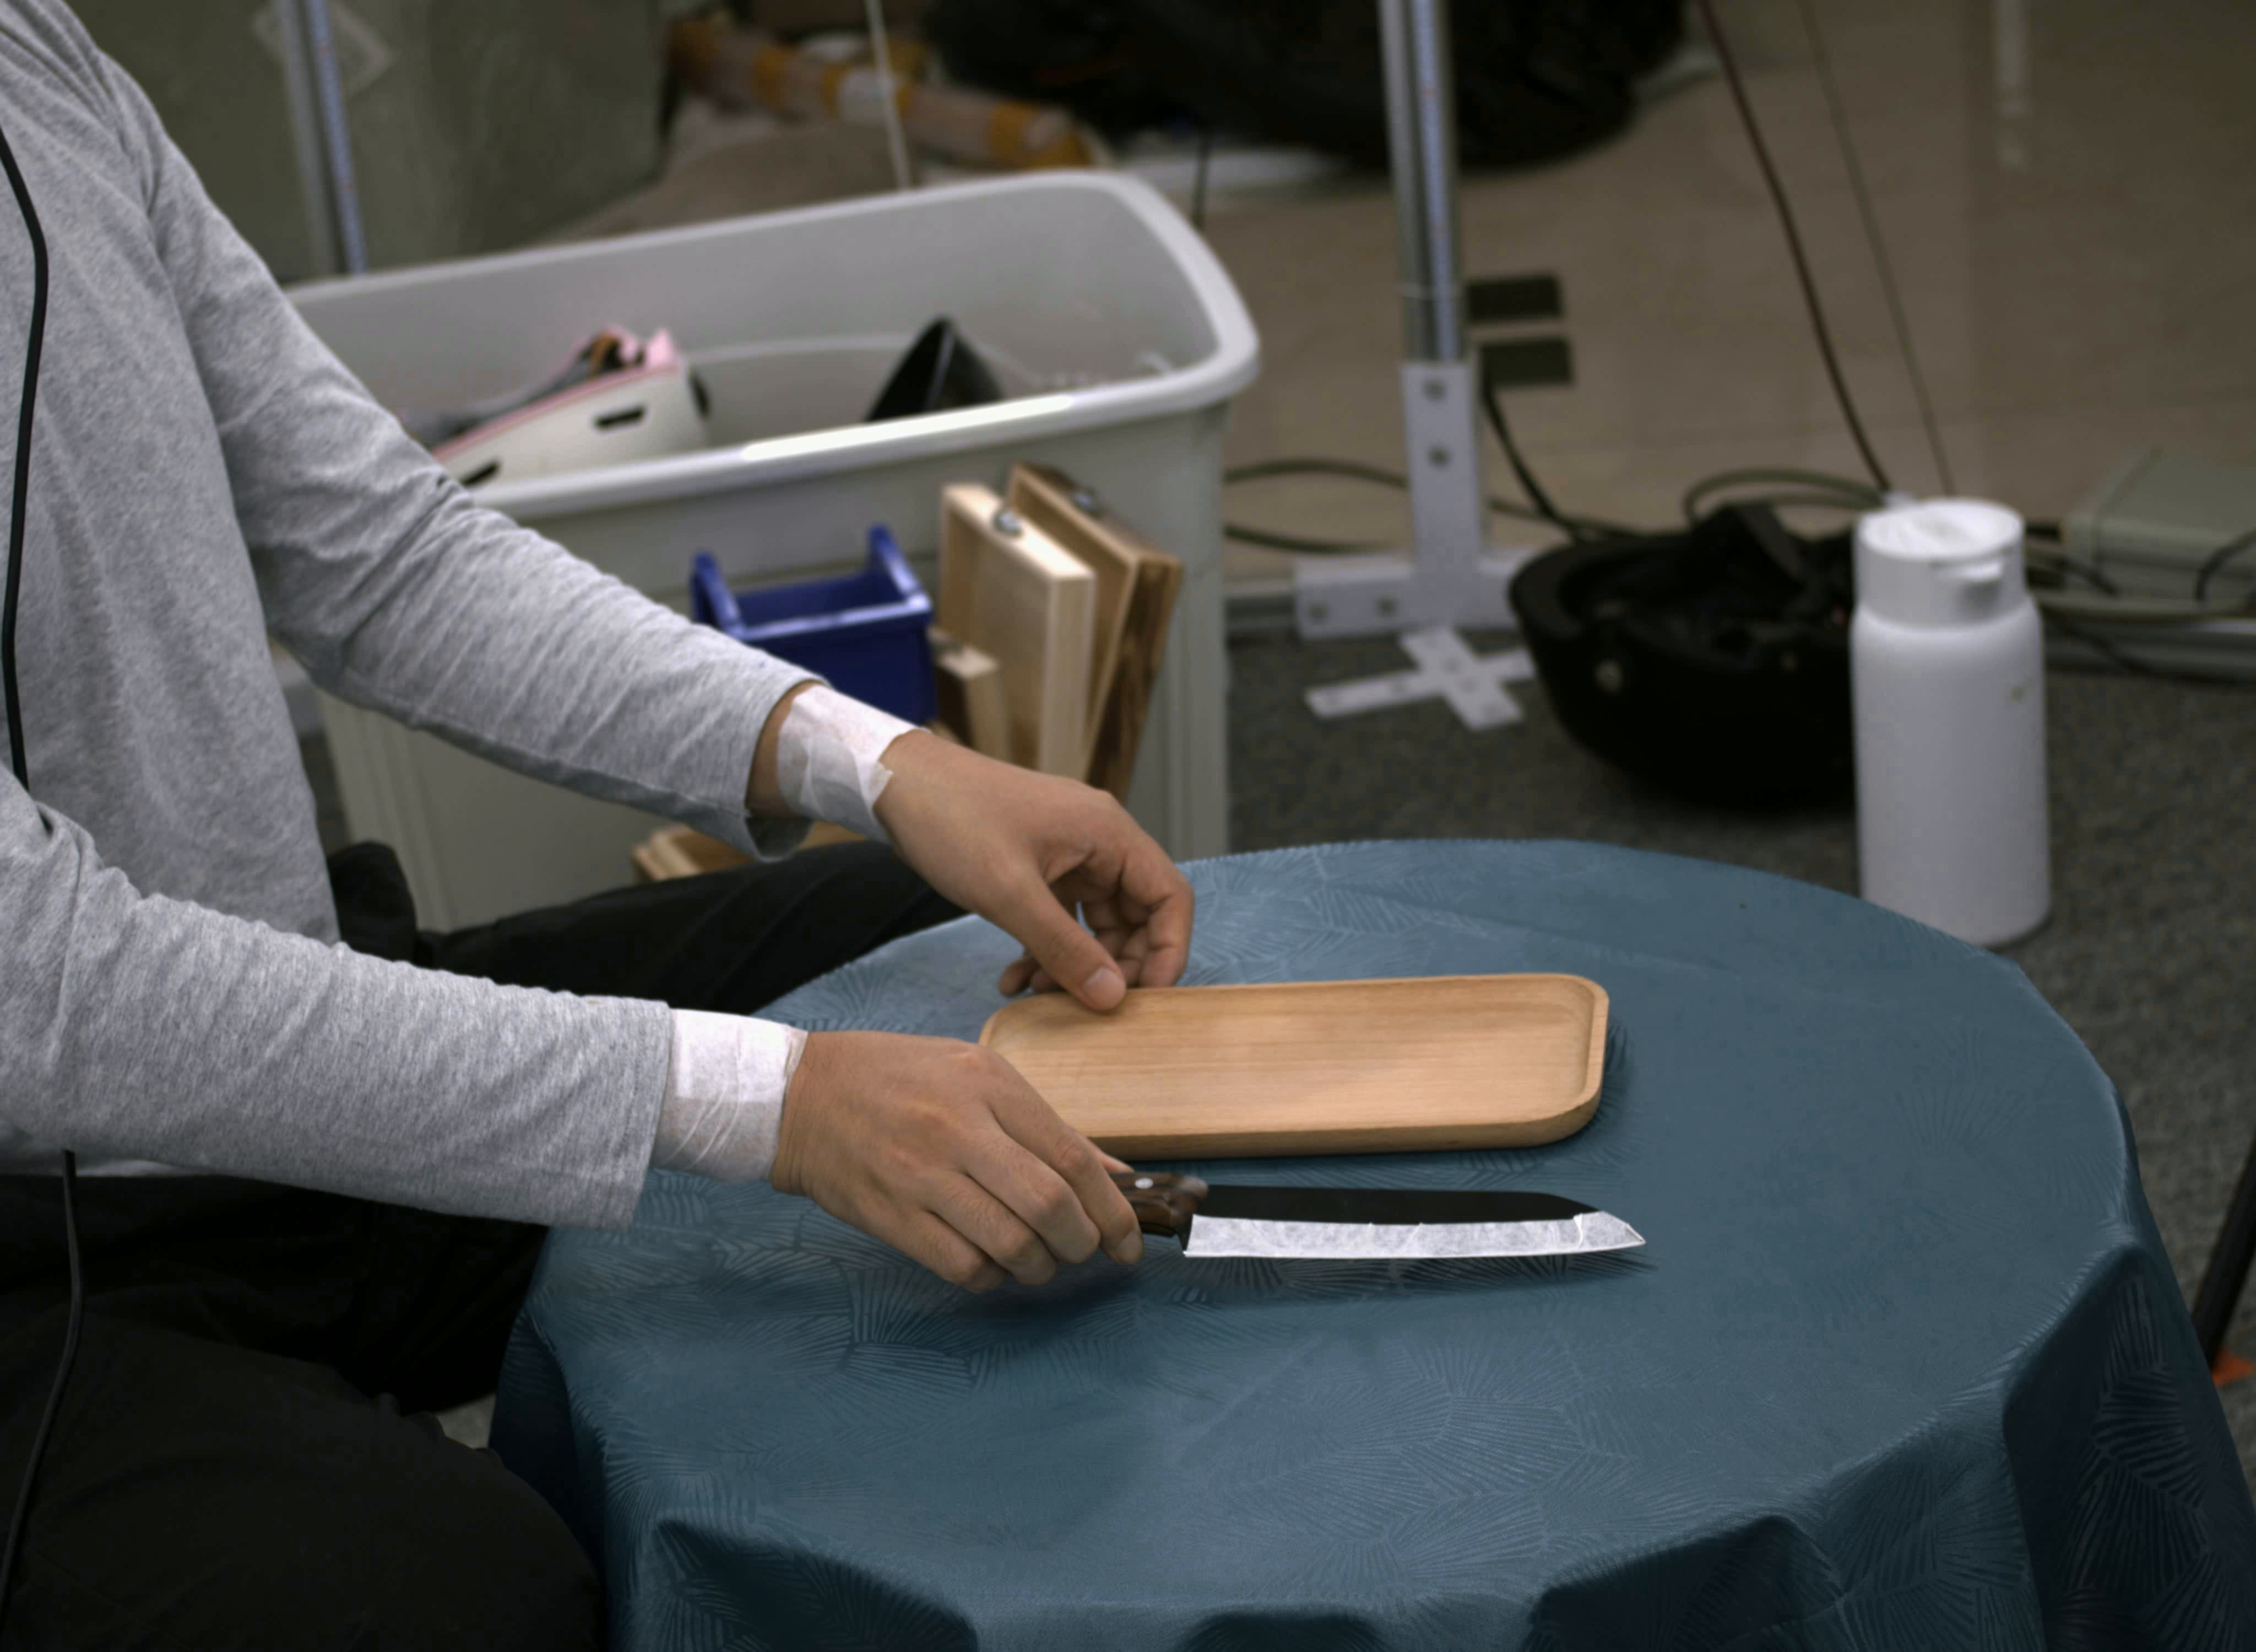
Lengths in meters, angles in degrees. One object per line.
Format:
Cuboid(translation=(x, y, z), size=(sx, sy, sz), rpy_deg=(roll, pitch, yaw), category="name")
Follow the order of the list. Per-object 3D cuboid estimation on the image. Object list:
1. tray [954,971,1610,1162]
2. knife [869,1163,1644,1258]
Cuboid(translation=(0.061, 0.094, 2.214), size=(0.250, 0.023, 0.129), rpy_deg=(-2, 23, 11), category="tray")
Cuboid(translation=(0.045, 0.143, 2.081), size=(0.288, 0.020, 0.049), rpy_deg=(2, 36, 9), category="knife")
